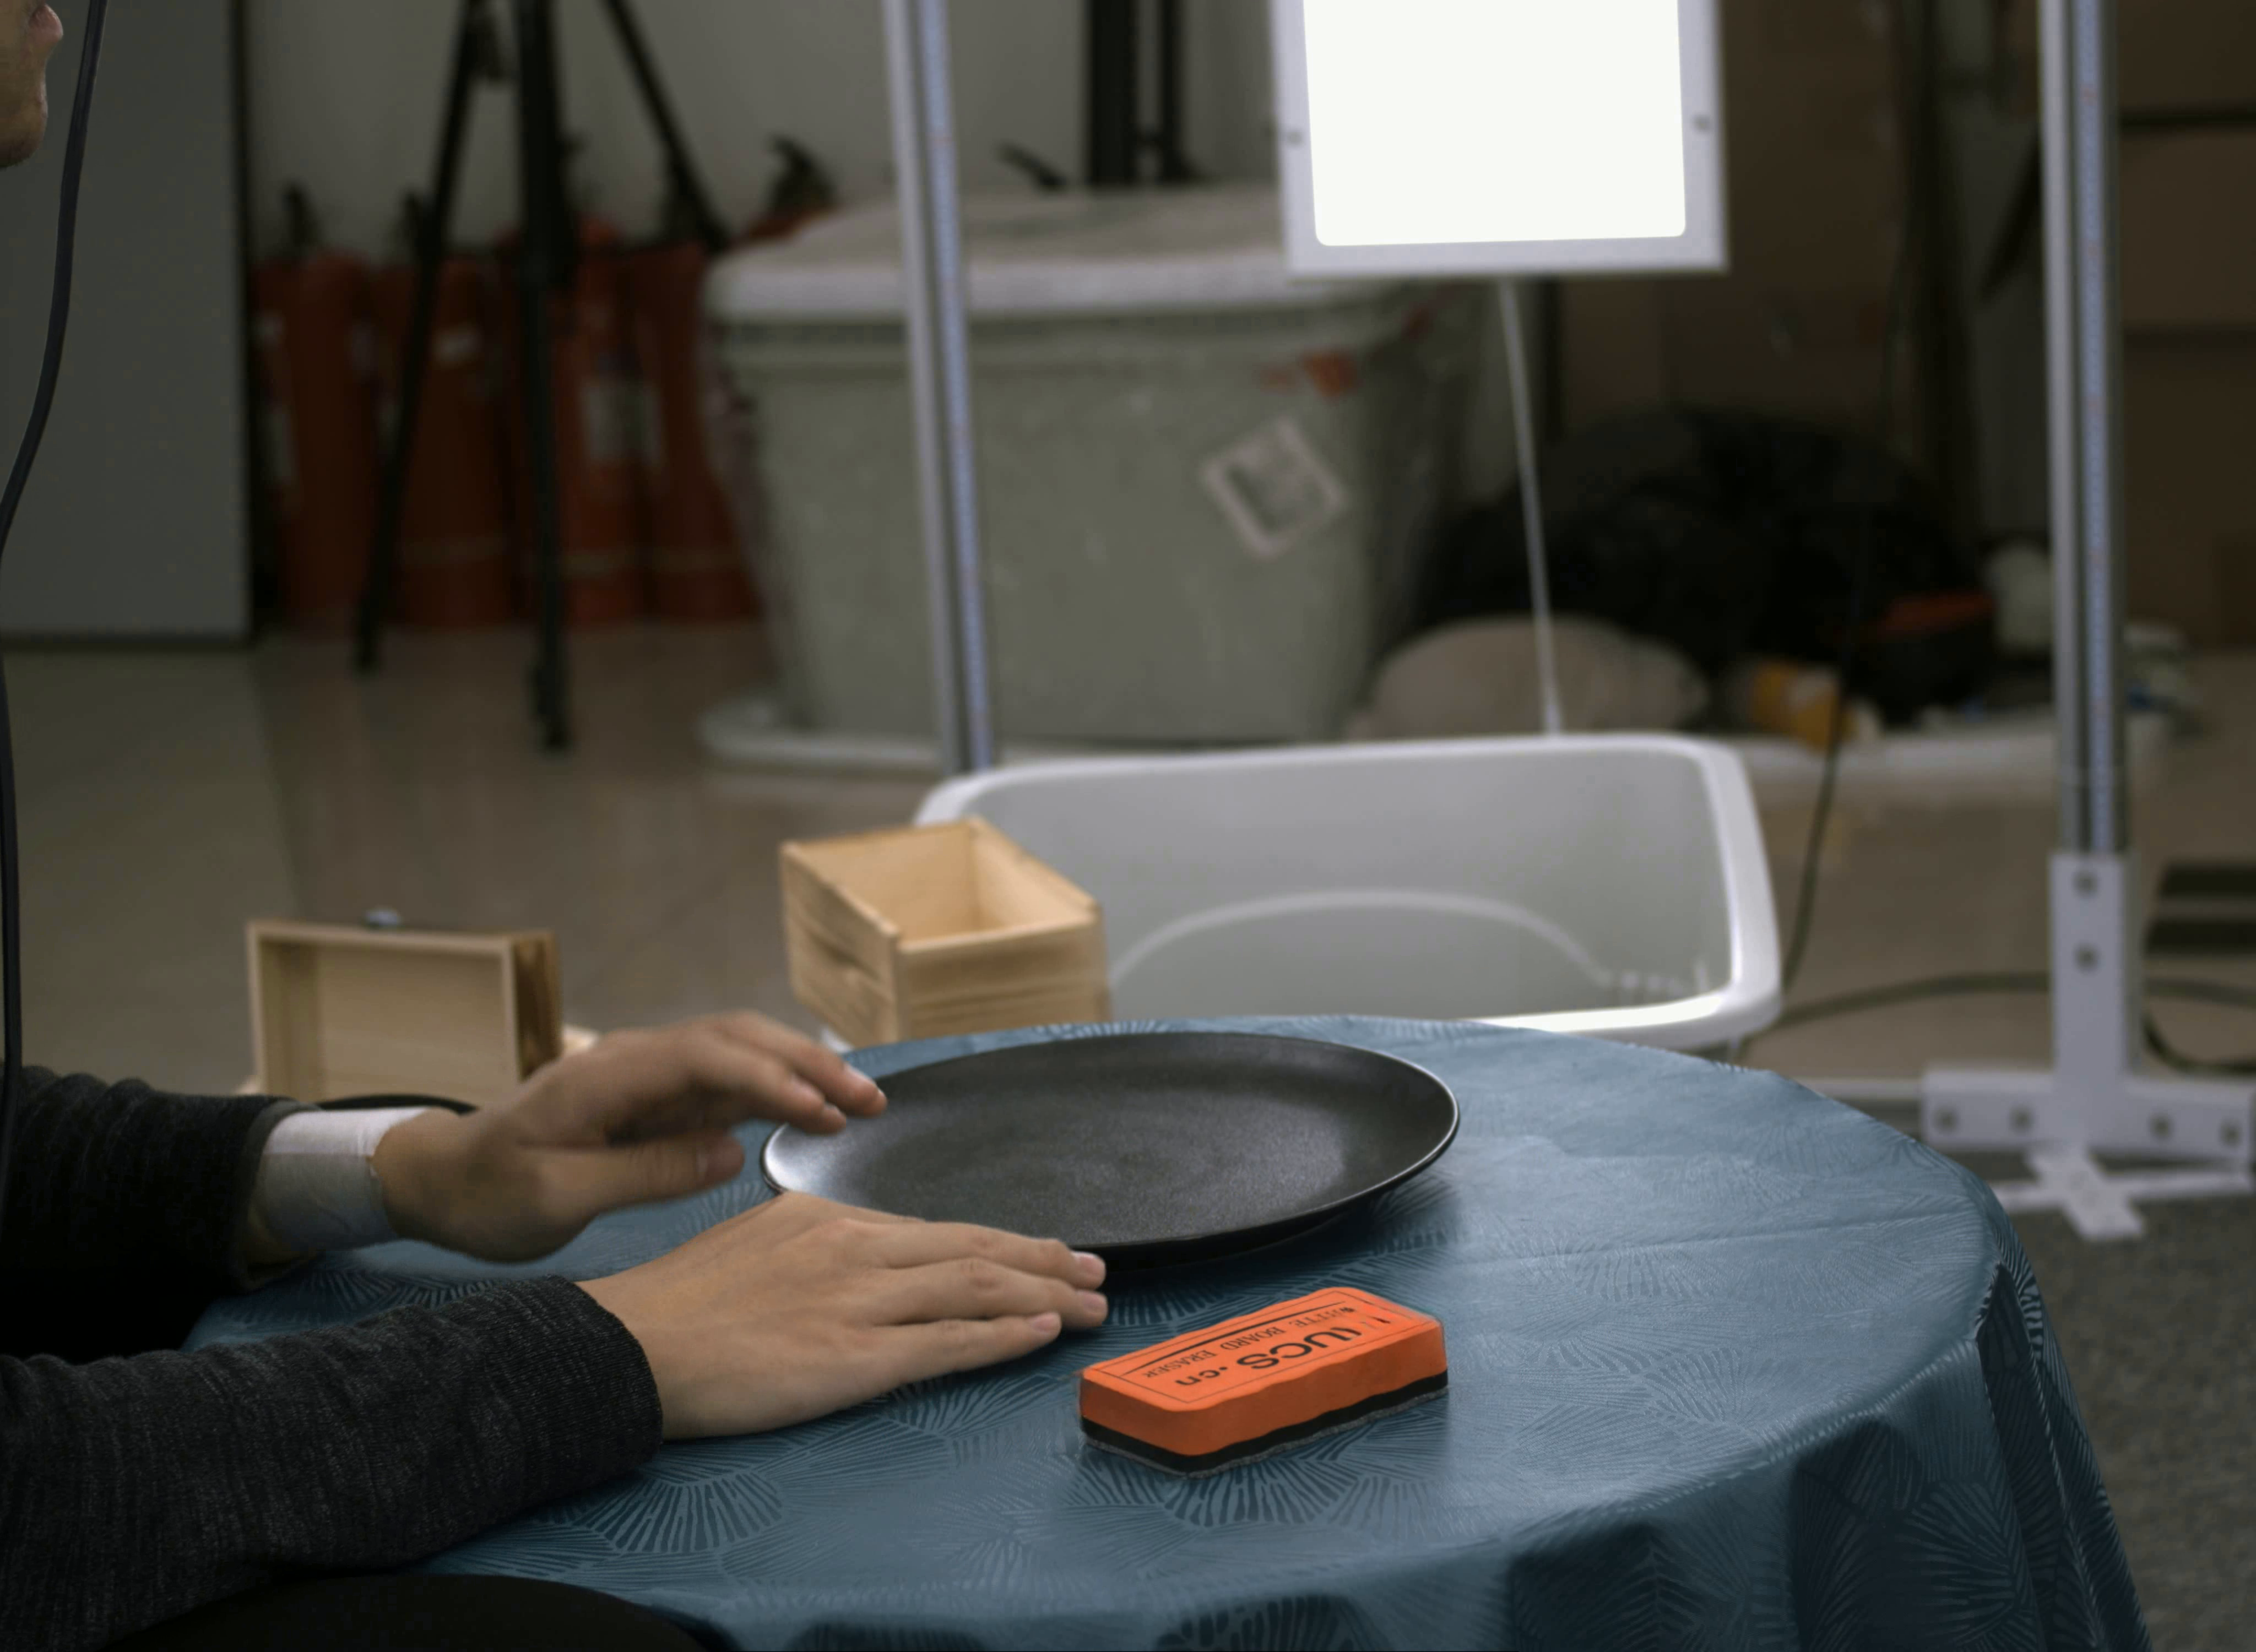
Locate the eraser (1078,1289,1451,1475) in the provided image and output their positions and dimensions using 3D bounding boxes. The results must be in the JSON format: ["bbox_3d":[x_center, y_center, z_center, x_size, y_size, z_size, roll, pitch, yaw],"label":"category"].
[{"bbox_3d":[0.042,0.167,1.666,0.105,0.023,0.060,-14,15,-33],"label":"eraser"}]

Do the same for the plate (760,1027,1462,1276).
[{"bbox_3d":[-0.005,0.115,1.899,0.244,0.023,0.244,-5,14,0],"label":"plate"}]
